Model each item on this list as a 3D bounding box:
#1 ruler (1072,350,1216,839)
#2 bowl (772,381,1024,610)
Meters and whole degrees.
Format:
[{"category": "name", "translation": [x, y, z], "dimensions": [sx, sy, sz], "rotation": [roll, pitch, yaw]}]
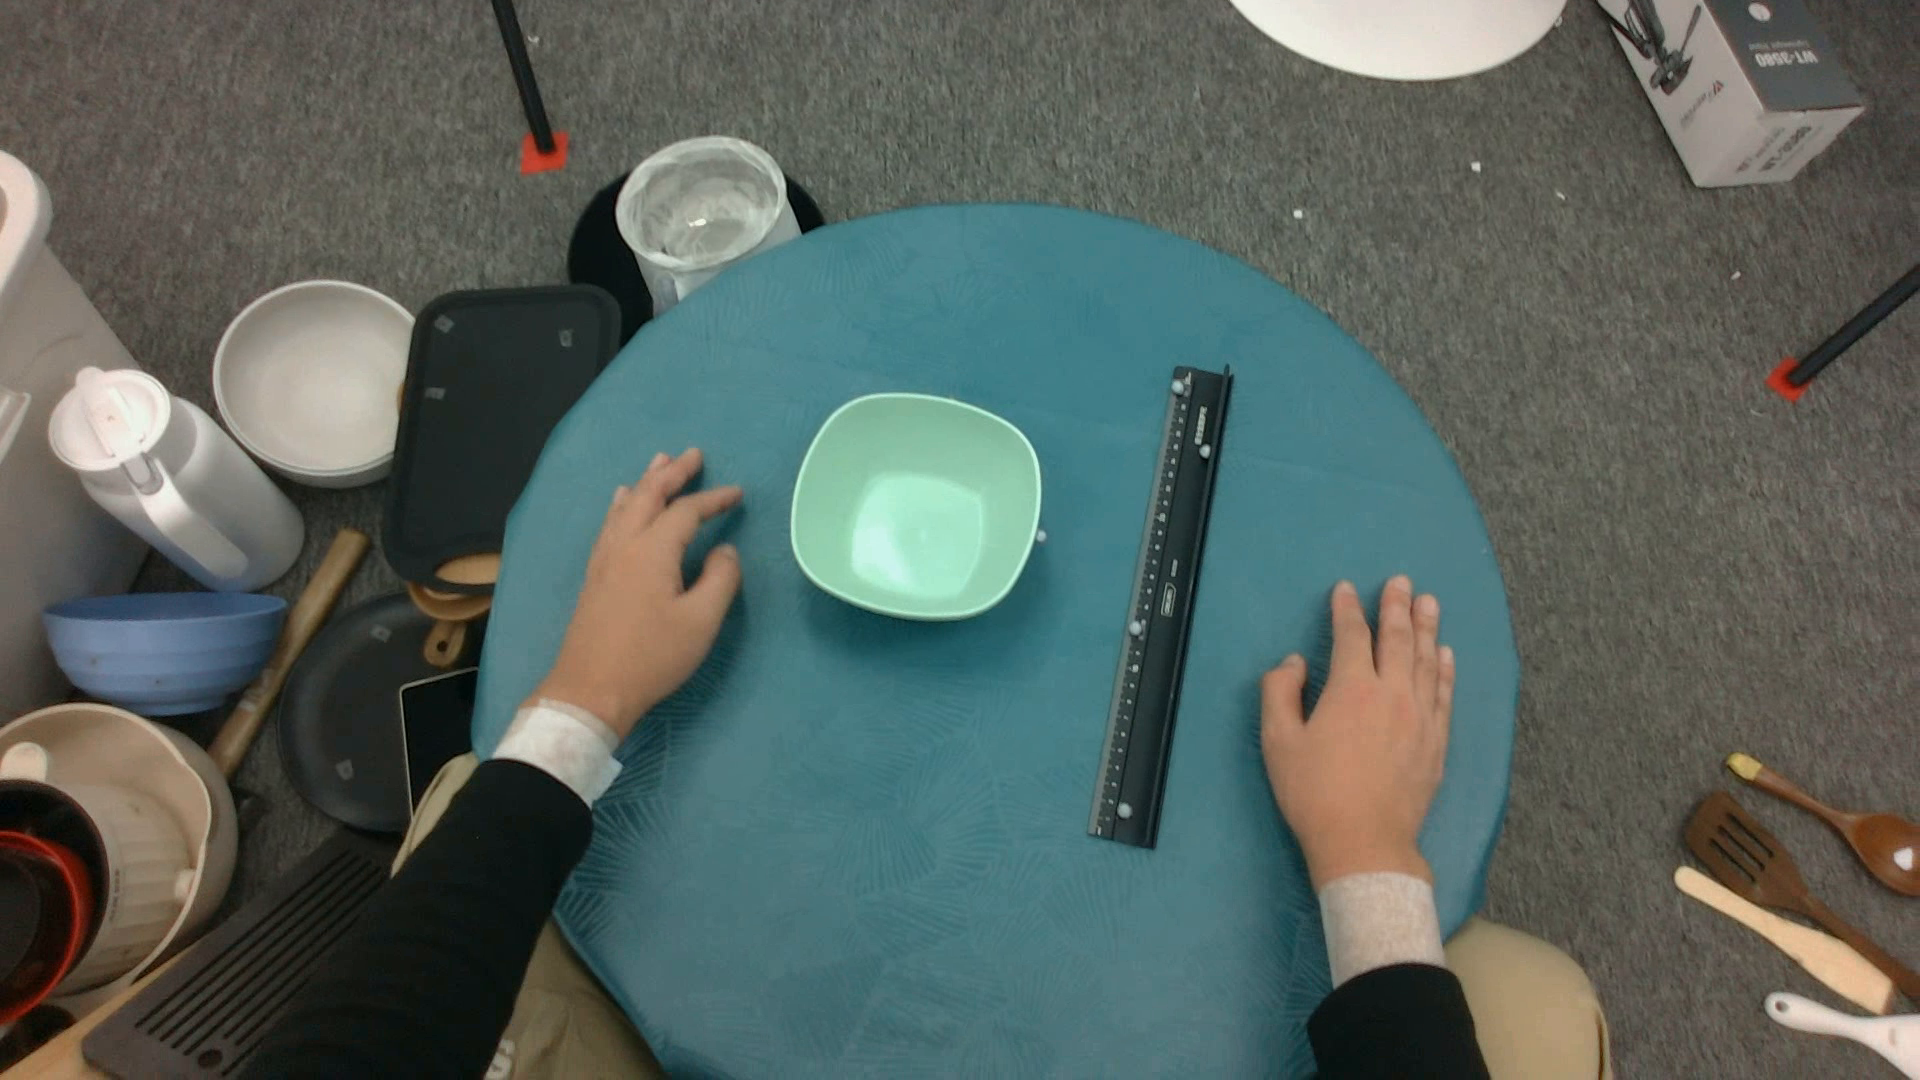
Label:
[{"category": "ruler", "translation": [0.113, 0.018, 0.812], "dimensions": [0.039, 0.017, 0.314], "rotation": [11, 66, 6]}, {"category": "bowl", "translation": [-0.036, -0.017, 0.797], "dimensions": [0.151, 0.058, 0.152], "rotation": [2, 64, -4]}]
